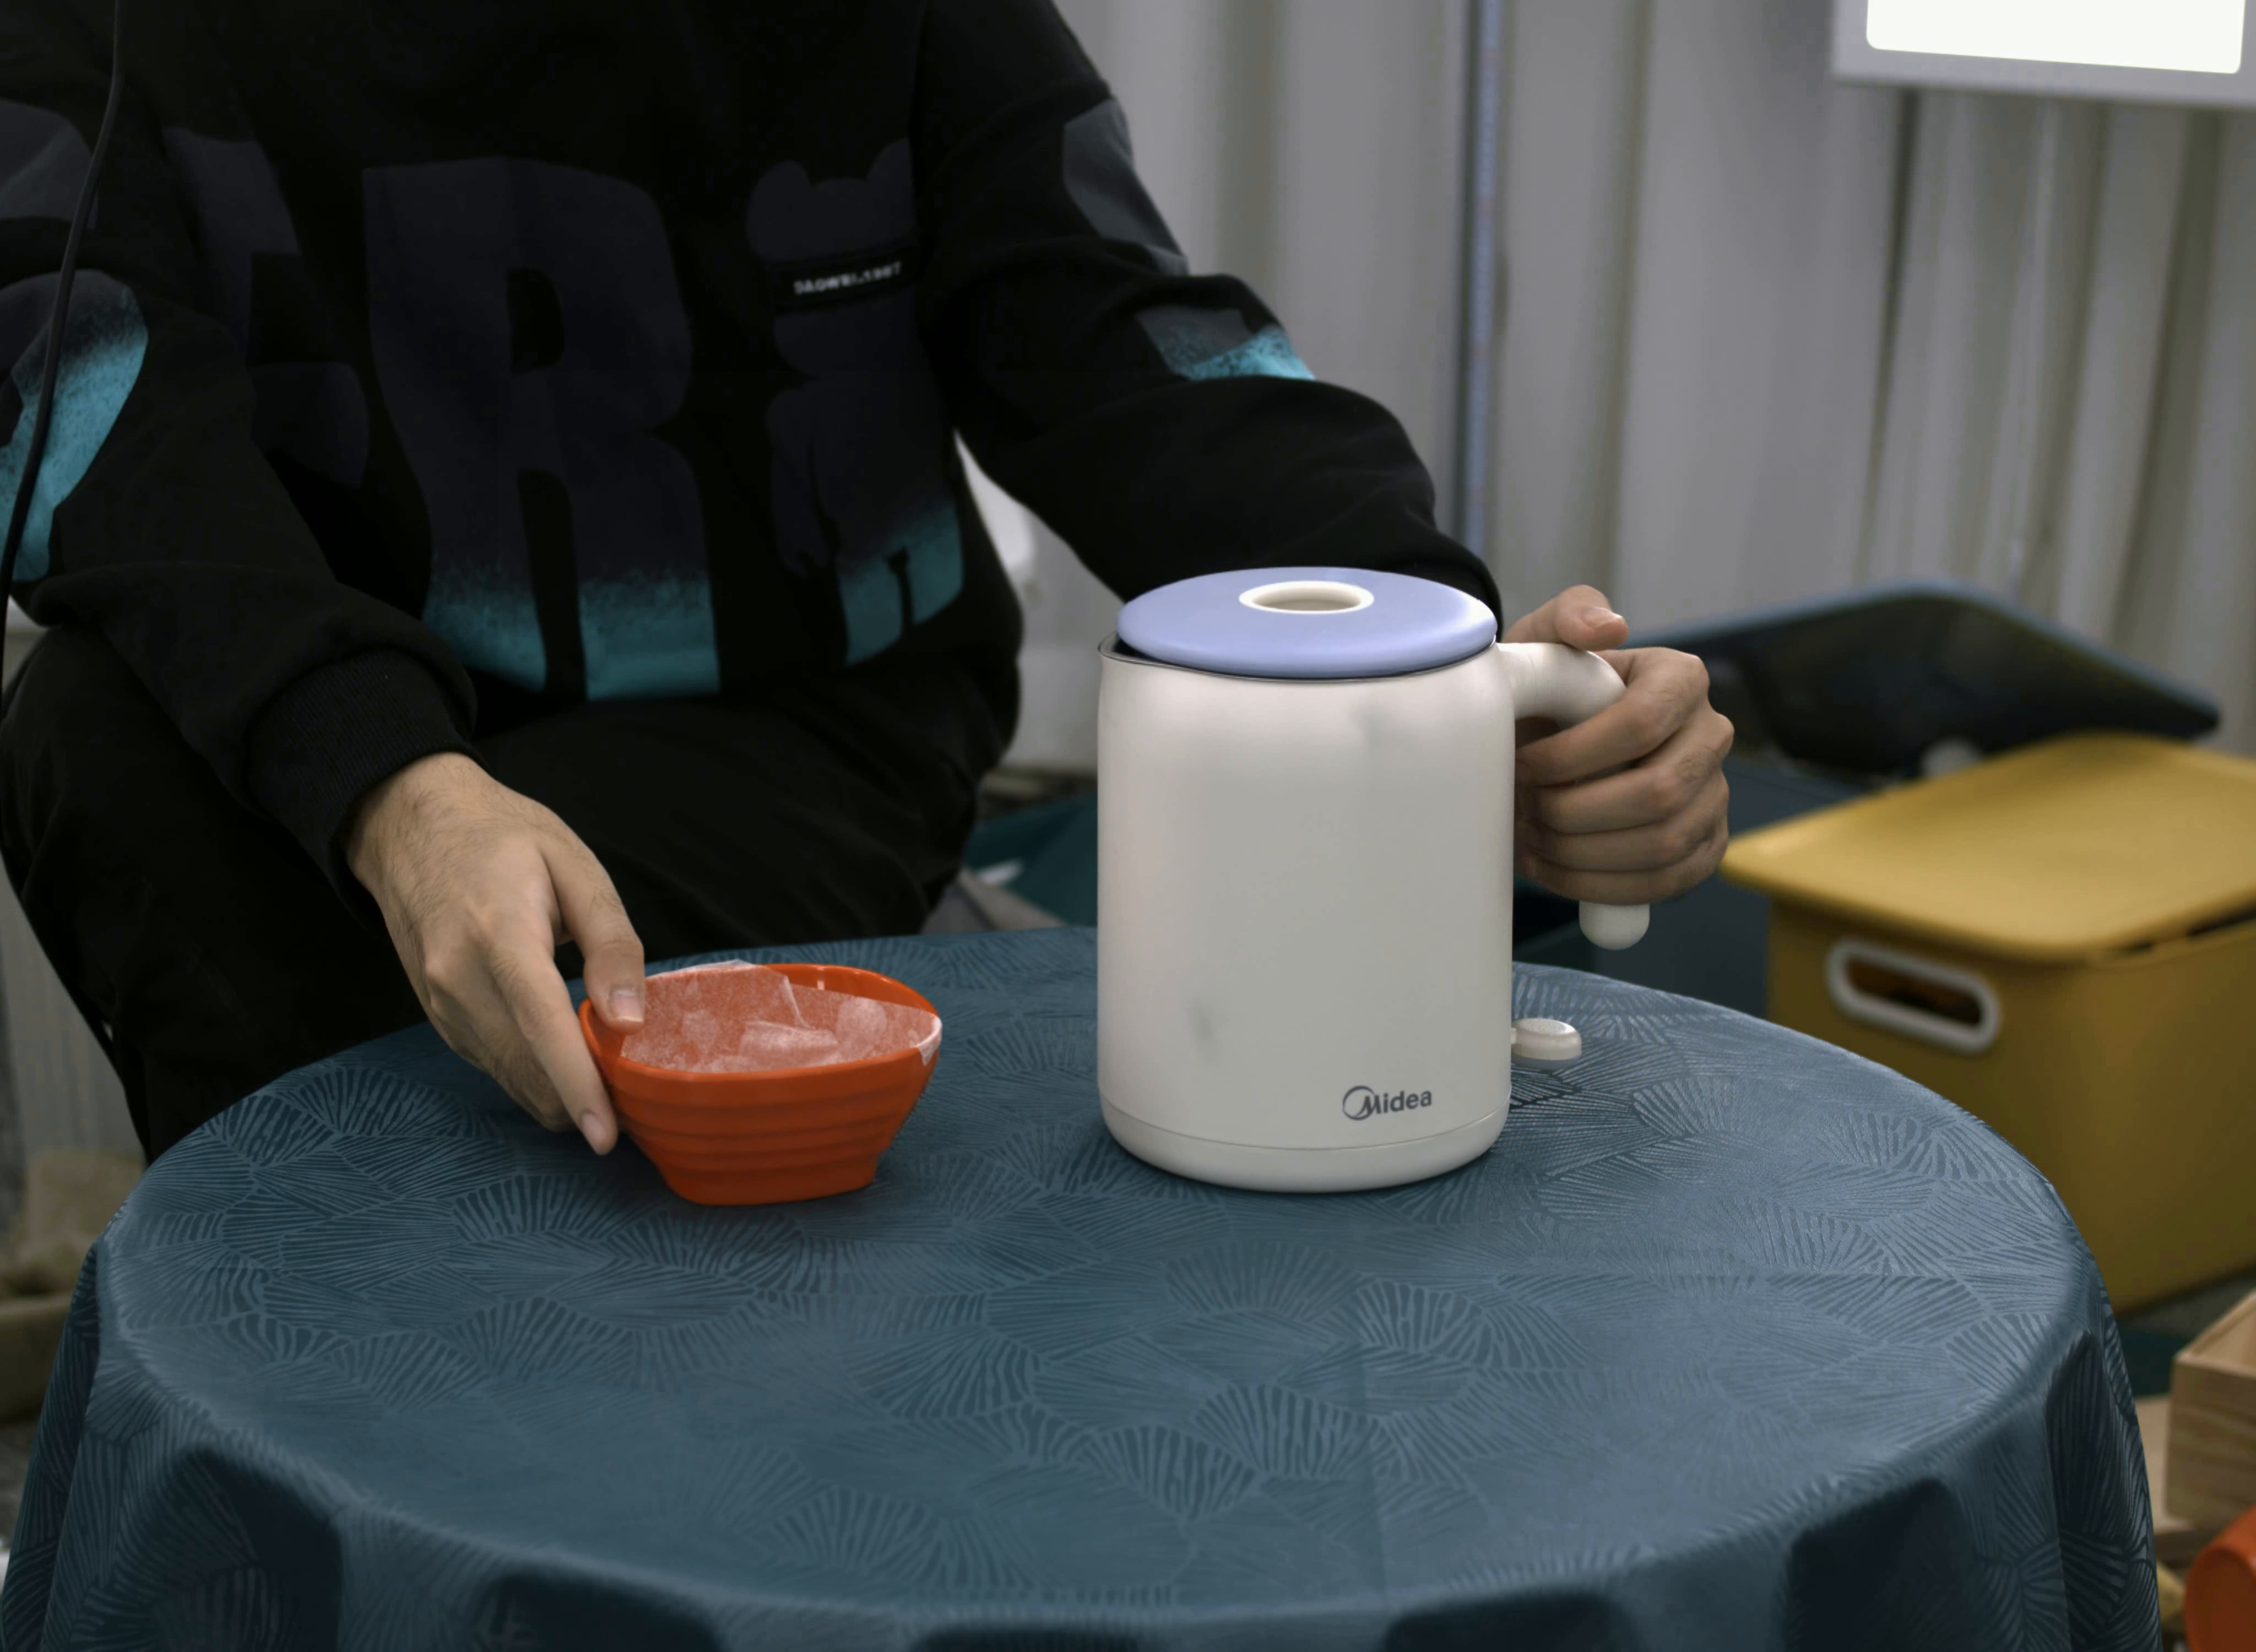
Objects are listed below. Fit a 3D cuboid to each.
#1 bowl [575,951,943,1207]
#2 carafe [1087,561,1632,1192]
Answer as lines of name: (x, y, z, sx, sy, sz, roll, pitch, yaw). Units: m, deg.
bowl: (-0.114, 0.081, 1.629, 0.118, 0.052, 0.118, 0, 18, 1)
carafe: (0.076, 0.013, 1.660, 0.192, 0.184, 0.130, -4, 18, -24)
